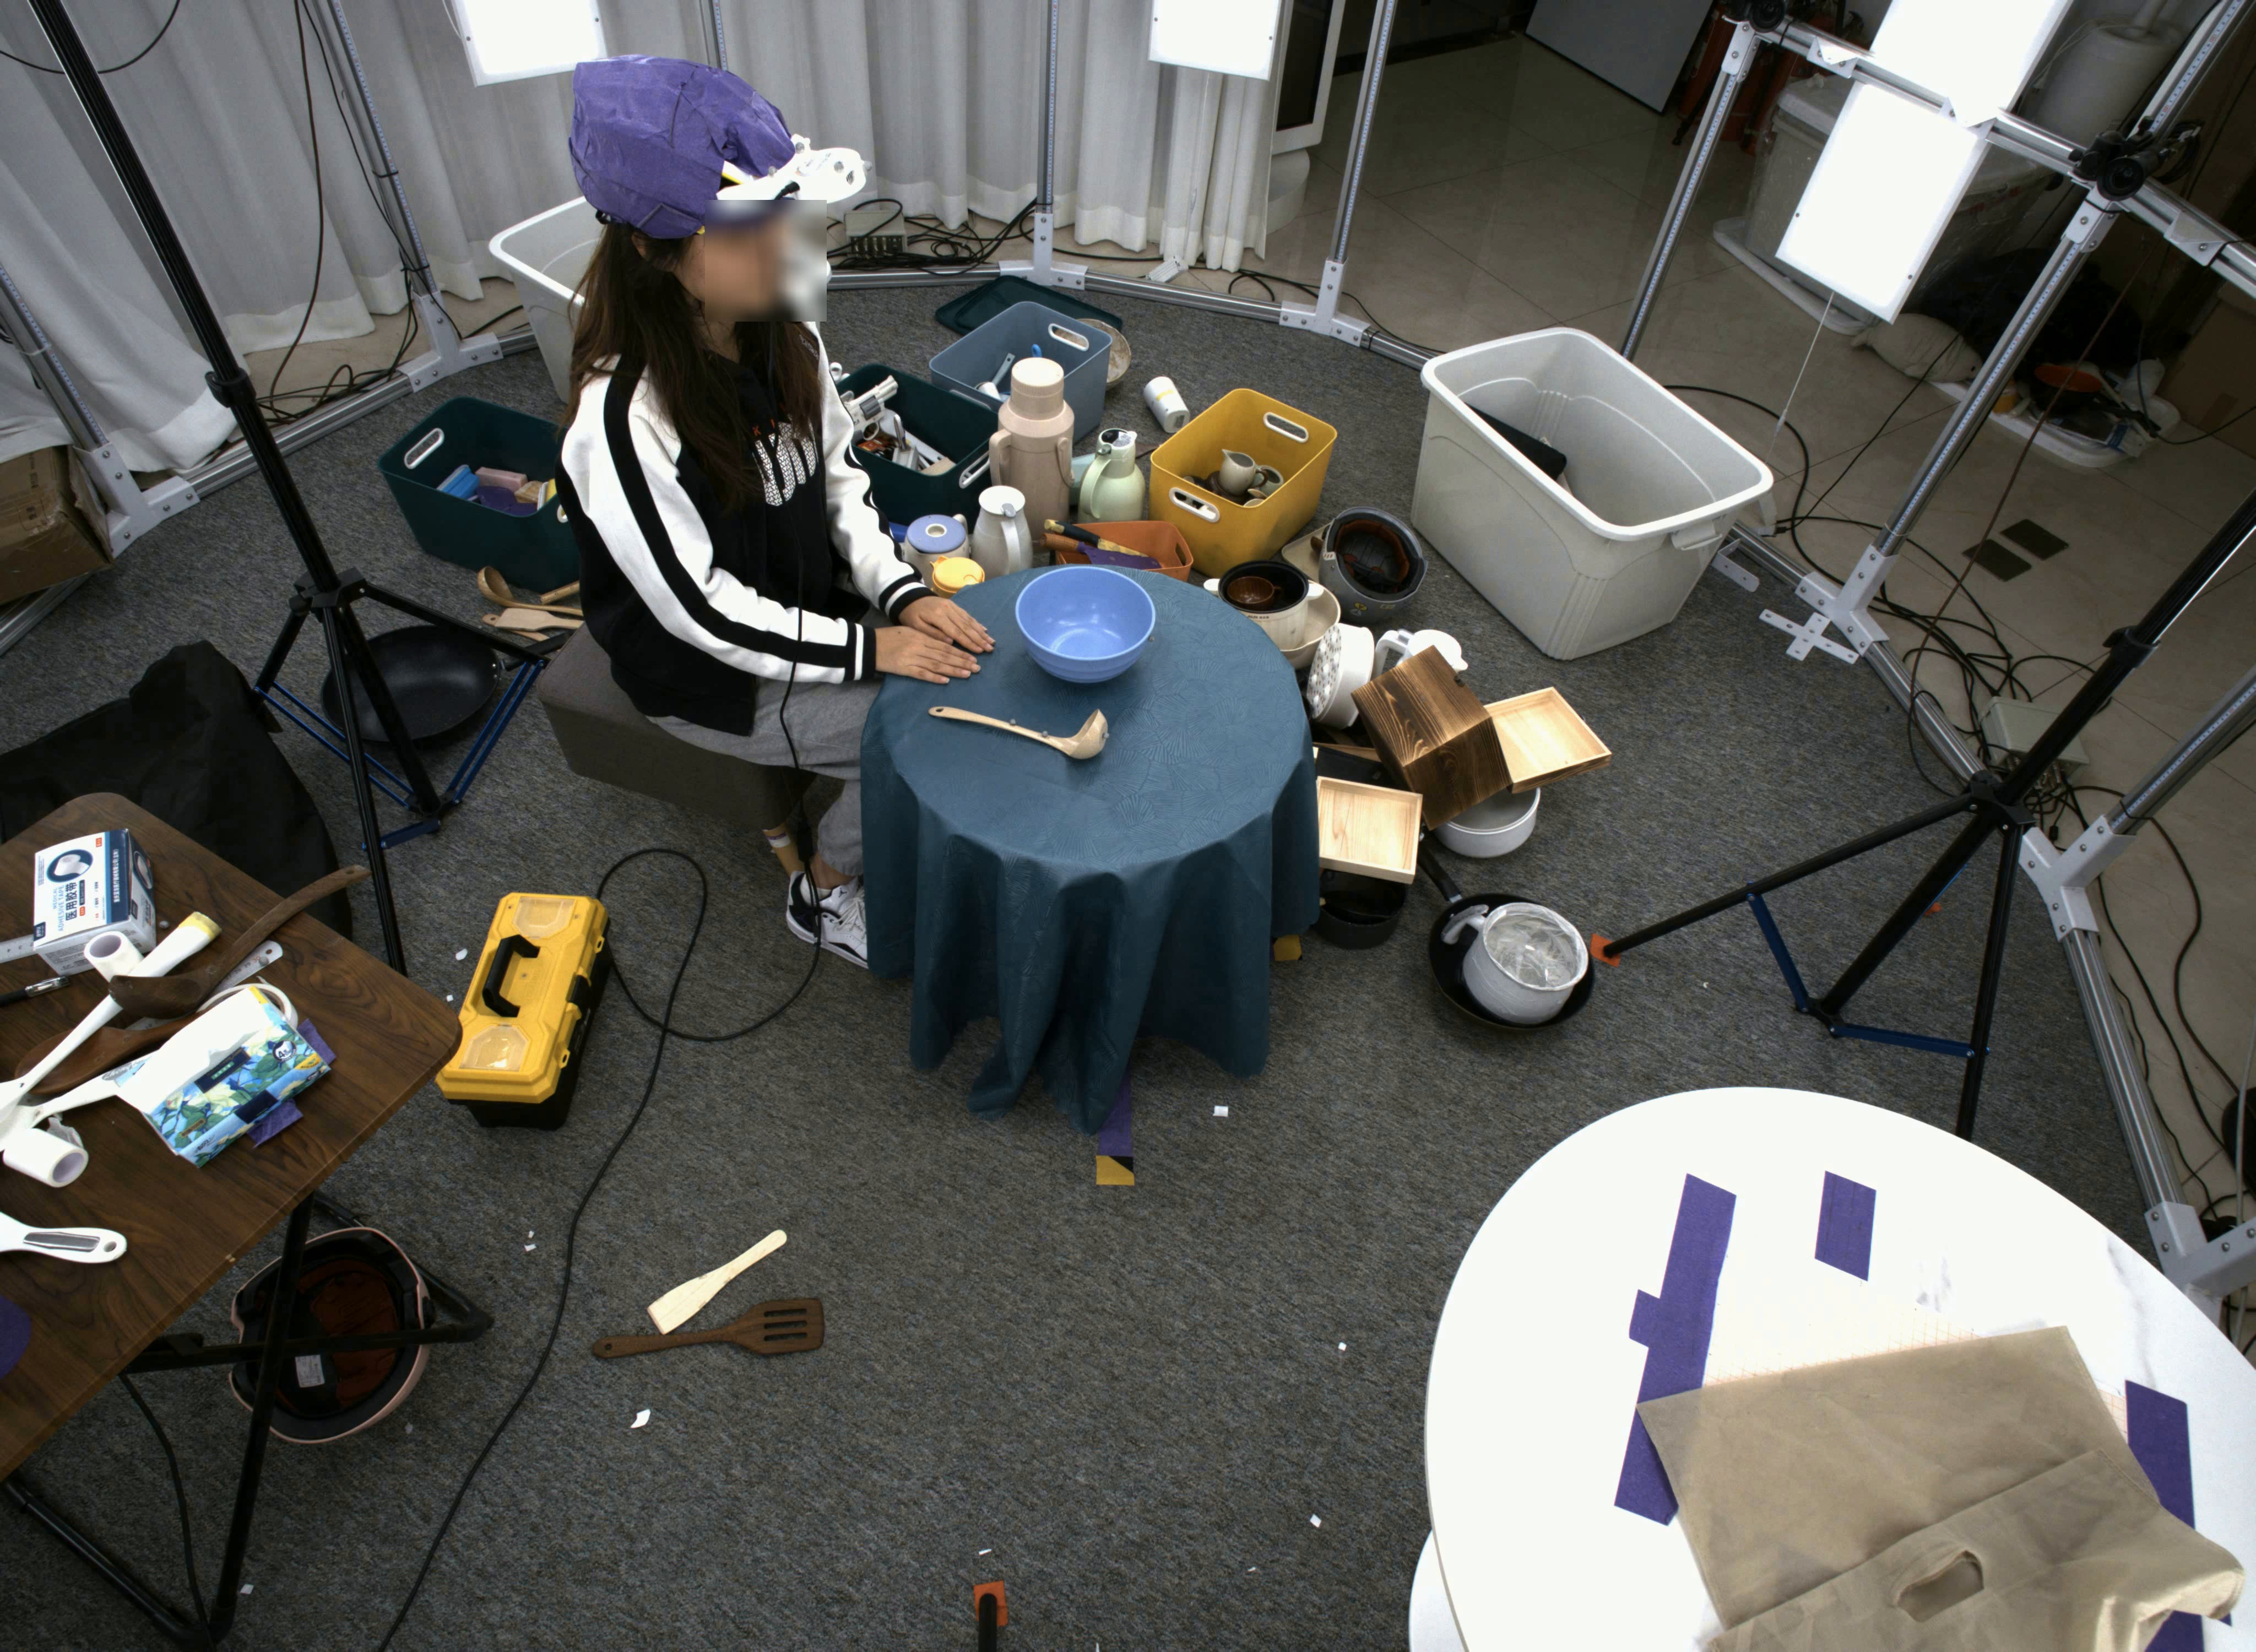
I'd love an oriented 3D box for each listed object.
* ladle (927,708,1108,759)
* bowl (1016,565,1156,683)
[{"bbox_3d":[-0.153,-0.149,1.742,0.255,0.071,0.074,14,48,8],"label":"ladle"},{"bbox_3d":[-0.063,-0.273,1.841,0.196,0.093,0.201,3,49,-4],"label":"bowl"}]
